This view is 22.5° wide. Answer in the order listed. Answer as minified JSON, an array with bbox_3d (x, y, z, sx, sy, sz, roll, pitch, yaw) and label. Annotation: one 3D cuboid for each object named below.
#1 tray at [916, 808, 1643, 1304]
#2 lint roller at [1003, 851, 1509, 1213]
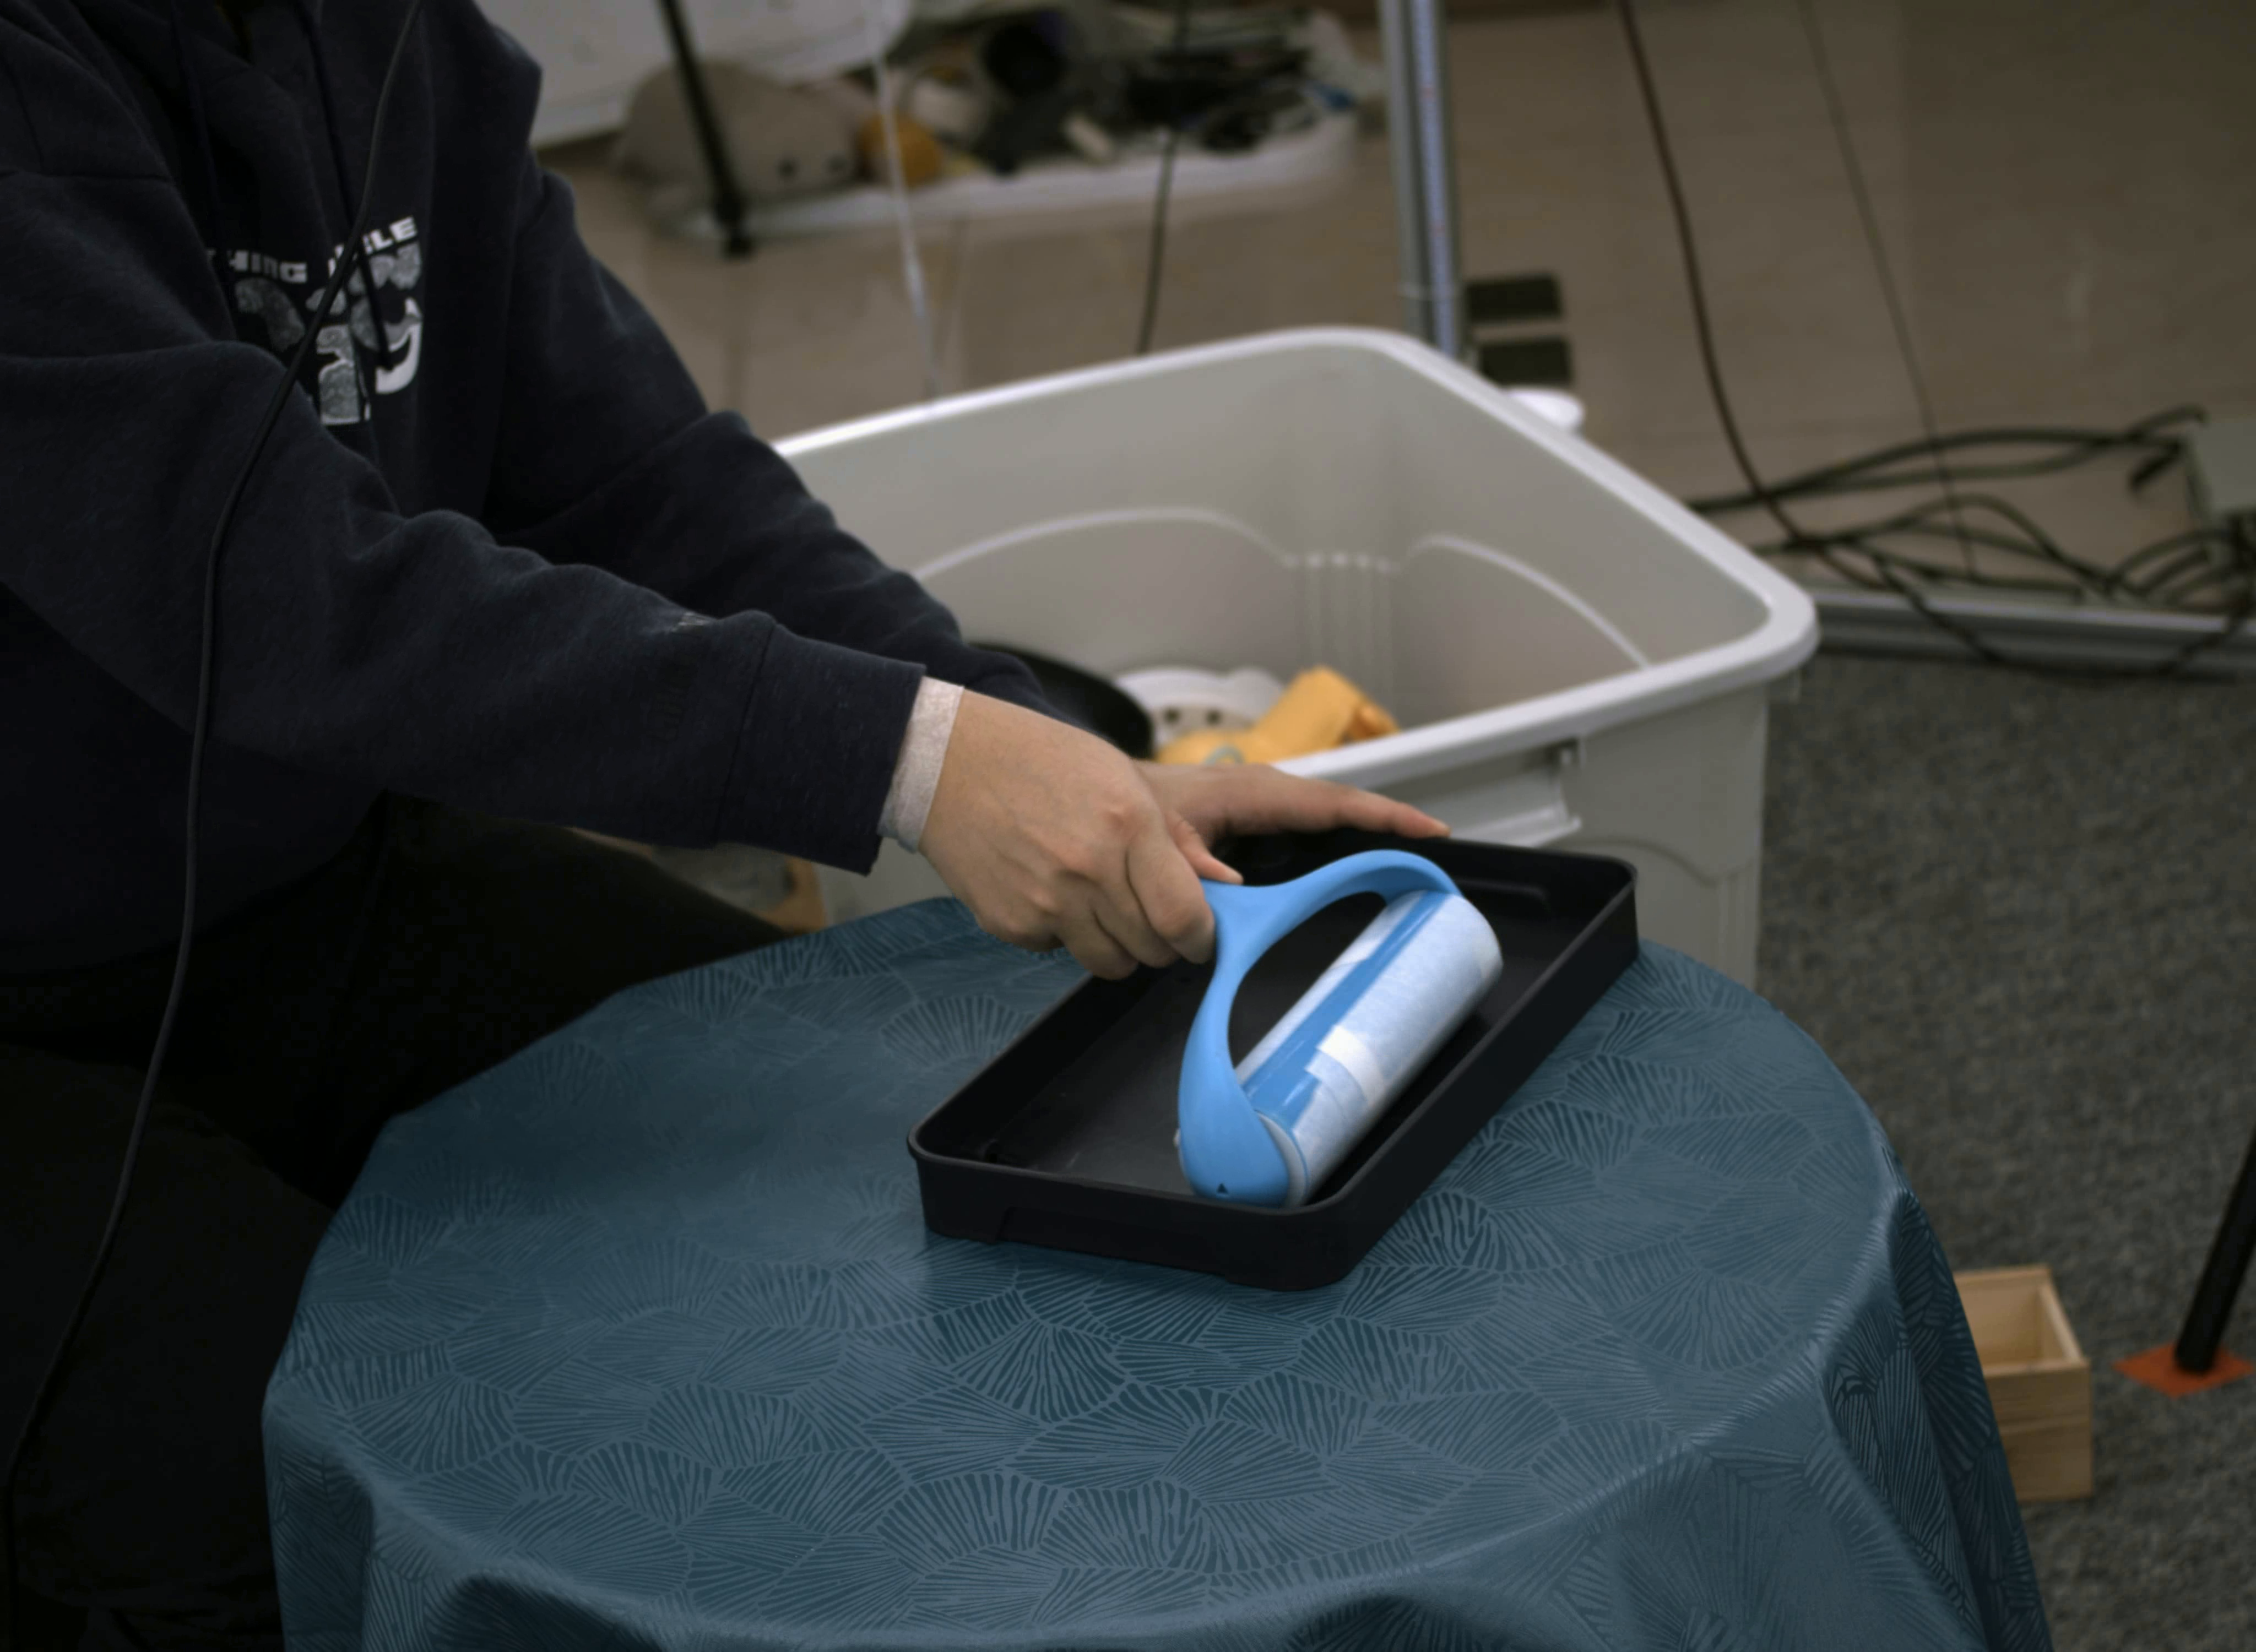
[{"bbox_3d":[0.065,0.084,2.216,0.183,0.037,0.314,7,30,27],"label":"tray"},{"bbox_3d":[0.036,0.054,2.170,0.180,0.069,0.226,34,37,7],"label":"lint roller"}]
